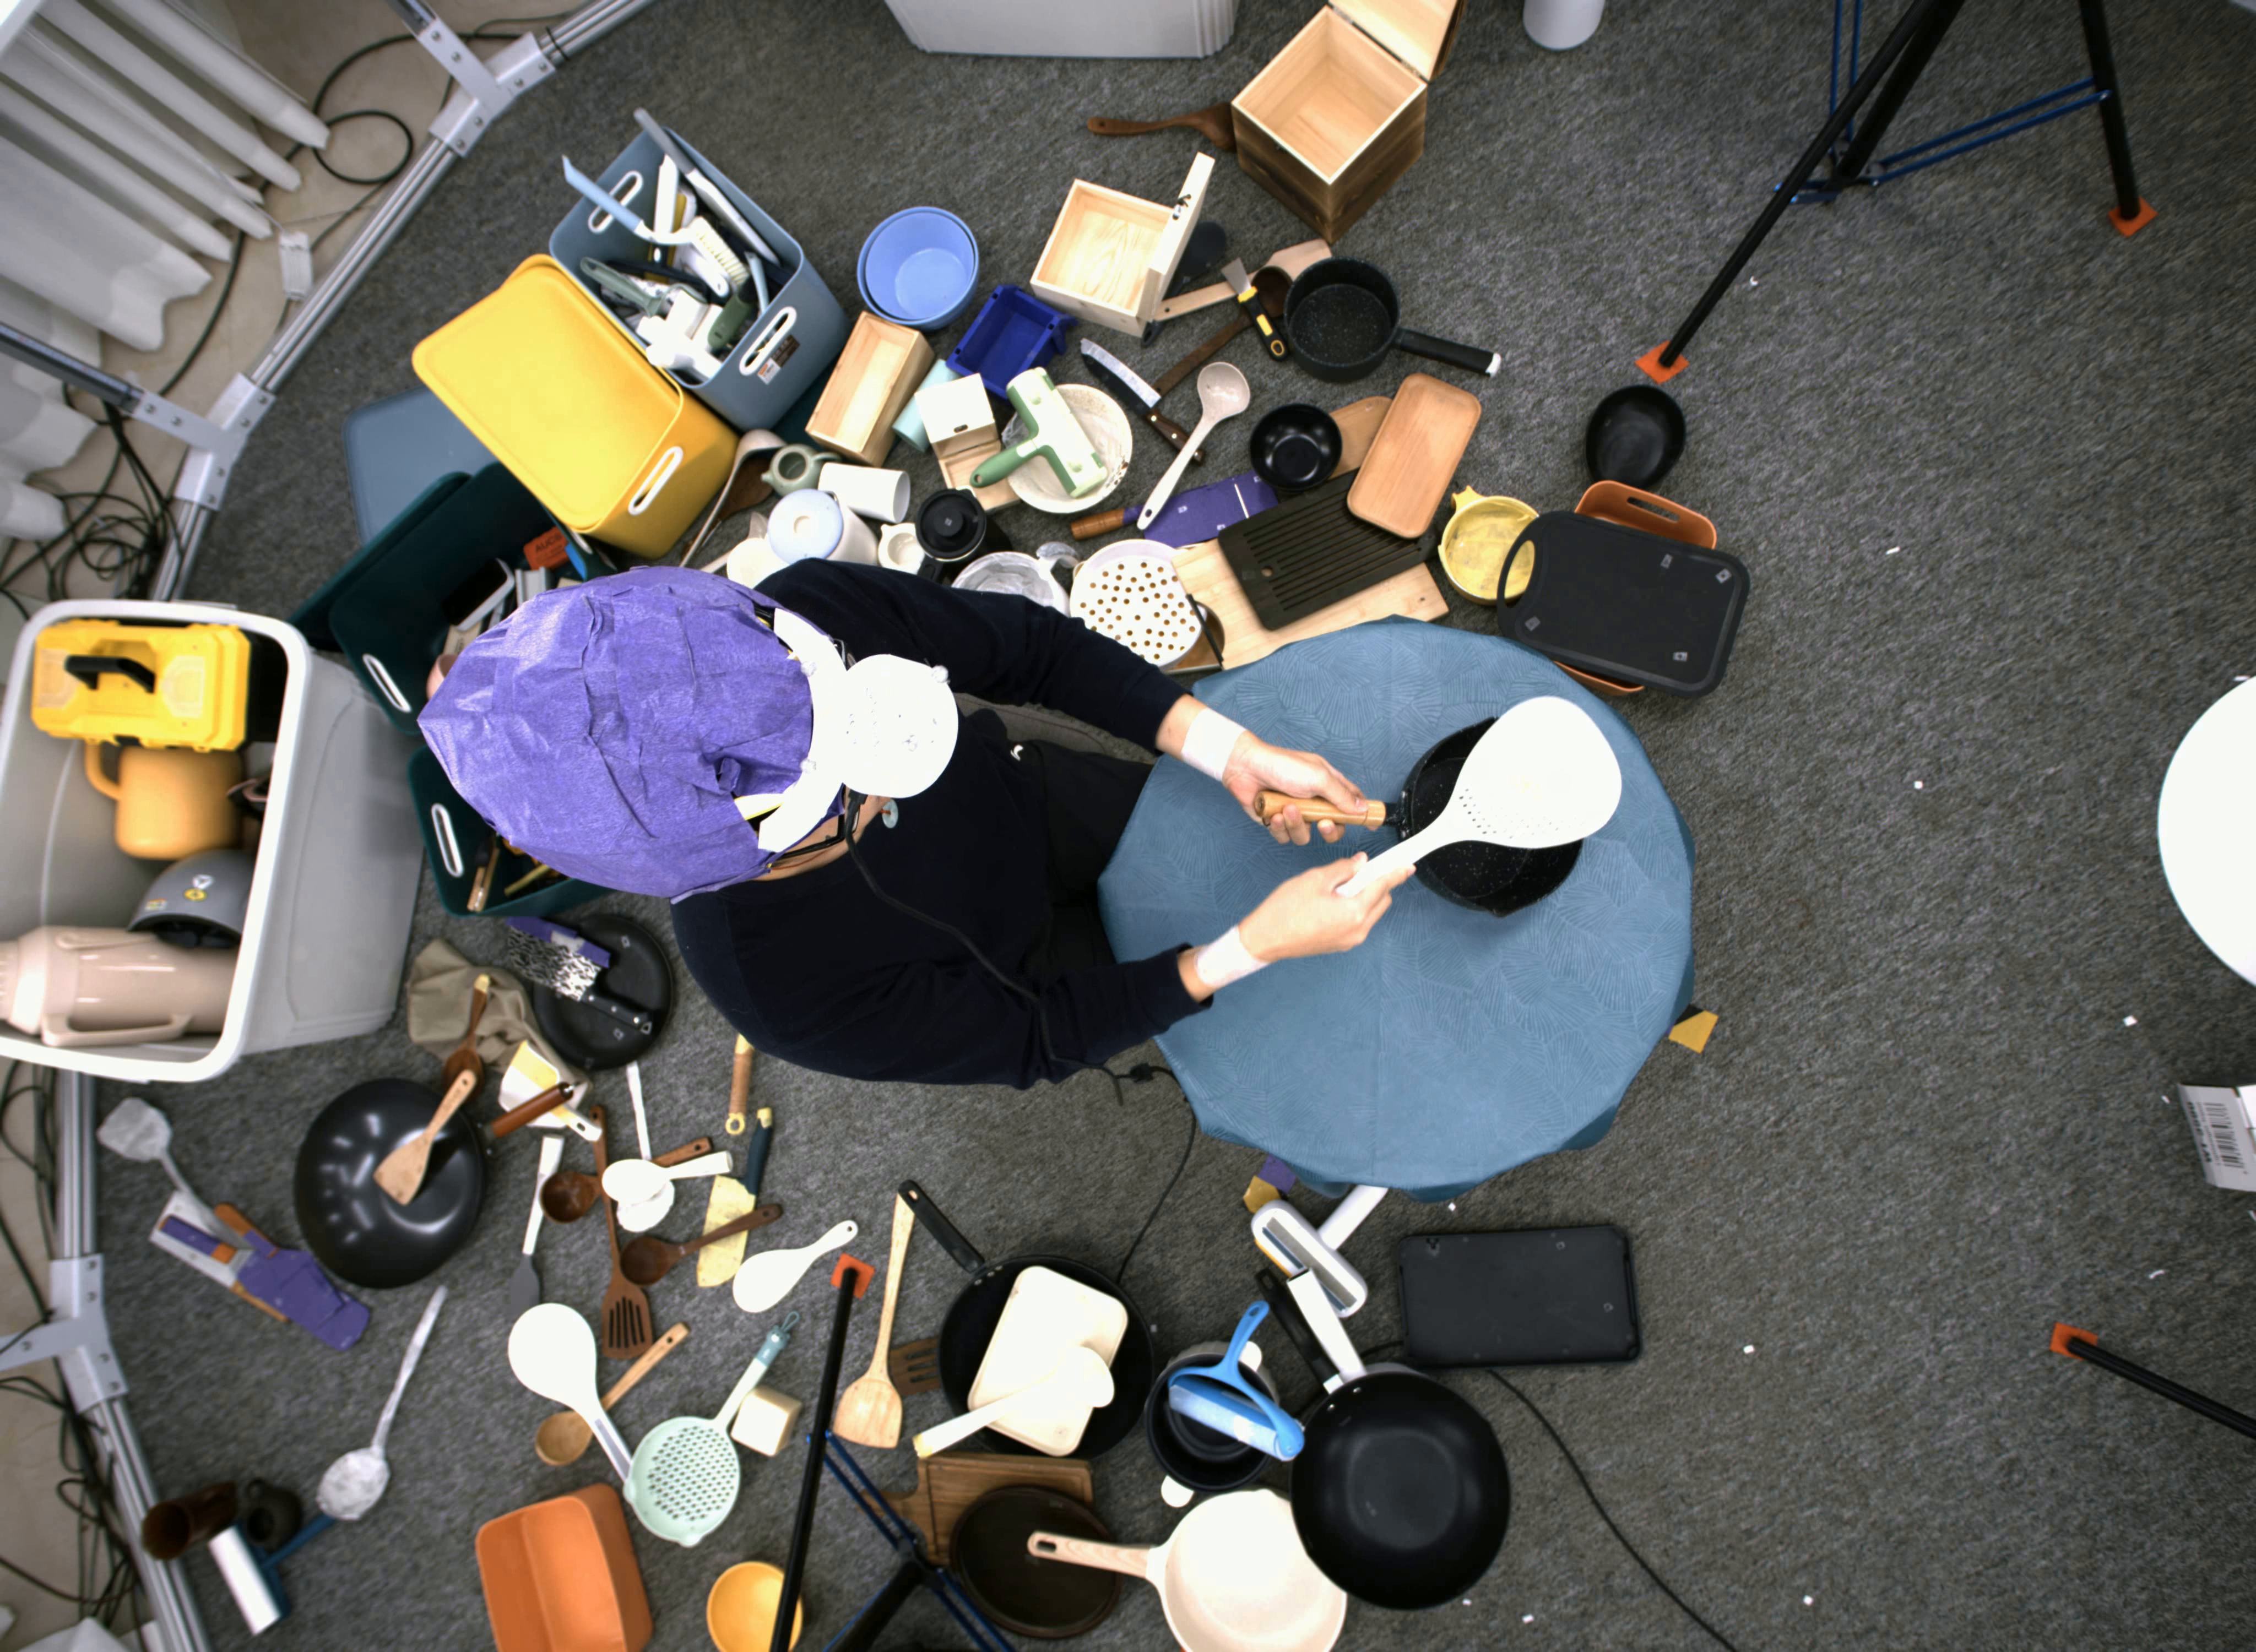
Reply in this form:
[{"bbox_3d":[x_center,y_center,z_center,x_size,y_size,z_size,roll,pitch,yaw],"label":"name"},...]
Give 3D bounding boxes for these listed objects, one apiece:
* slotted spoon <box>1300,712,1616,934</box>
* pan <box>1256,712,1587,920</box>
[{"bbox_3d":[0.301,0.005,1.274,0.344,0.051,0.135,-26,76,-20],"label":"slotted spoon"},{"bbox_3d":[0.281,-0.009,1.360,0.342,0.109,0.206,0,83,-10],"label":"pan"}]
